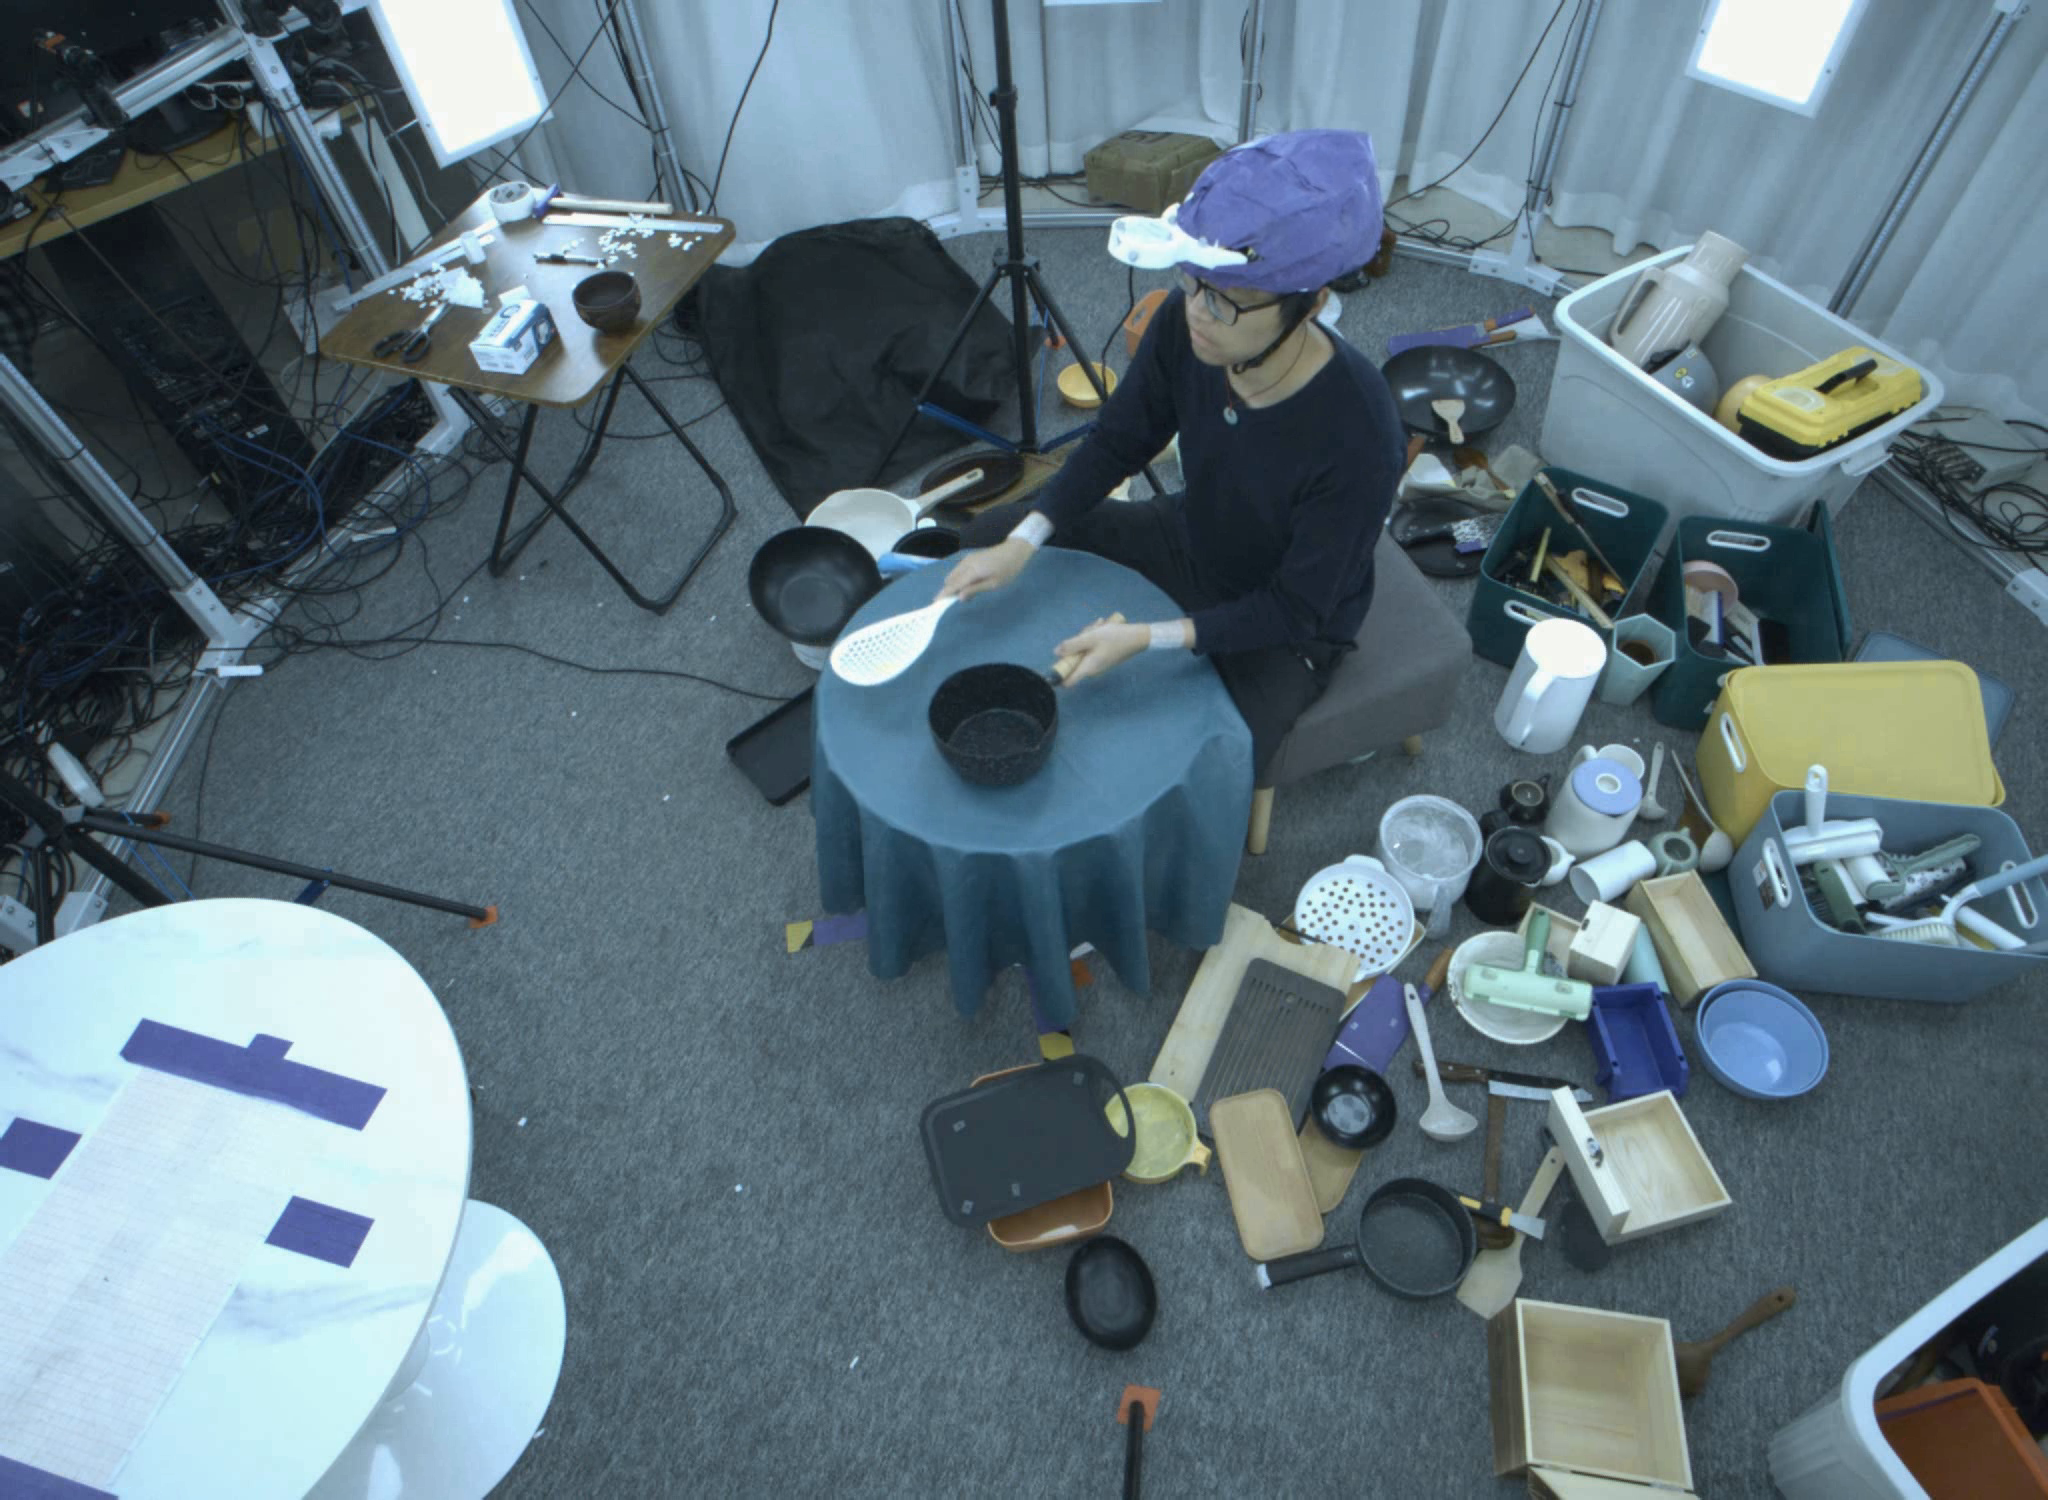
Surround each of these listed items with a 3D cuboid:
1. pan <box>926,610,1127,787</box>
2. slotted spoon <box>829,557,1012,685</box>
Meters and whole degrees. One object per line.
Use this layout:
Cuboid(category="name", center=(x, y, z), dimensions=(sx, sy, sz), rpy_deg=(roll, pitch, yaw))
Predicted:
Cuboid(category="pan", center=(0.017, -0.081, 1.775), dimensions=(0.345, 0.109, 0.203), rpy_deg=(-36, 55, -23))
Cuboid(category="slotted spoon", center=(-0.141, -0.203, 1.853), dimensions=(0.134, 0.051, 0.350), rpy_deg=(29, 63, 37))
